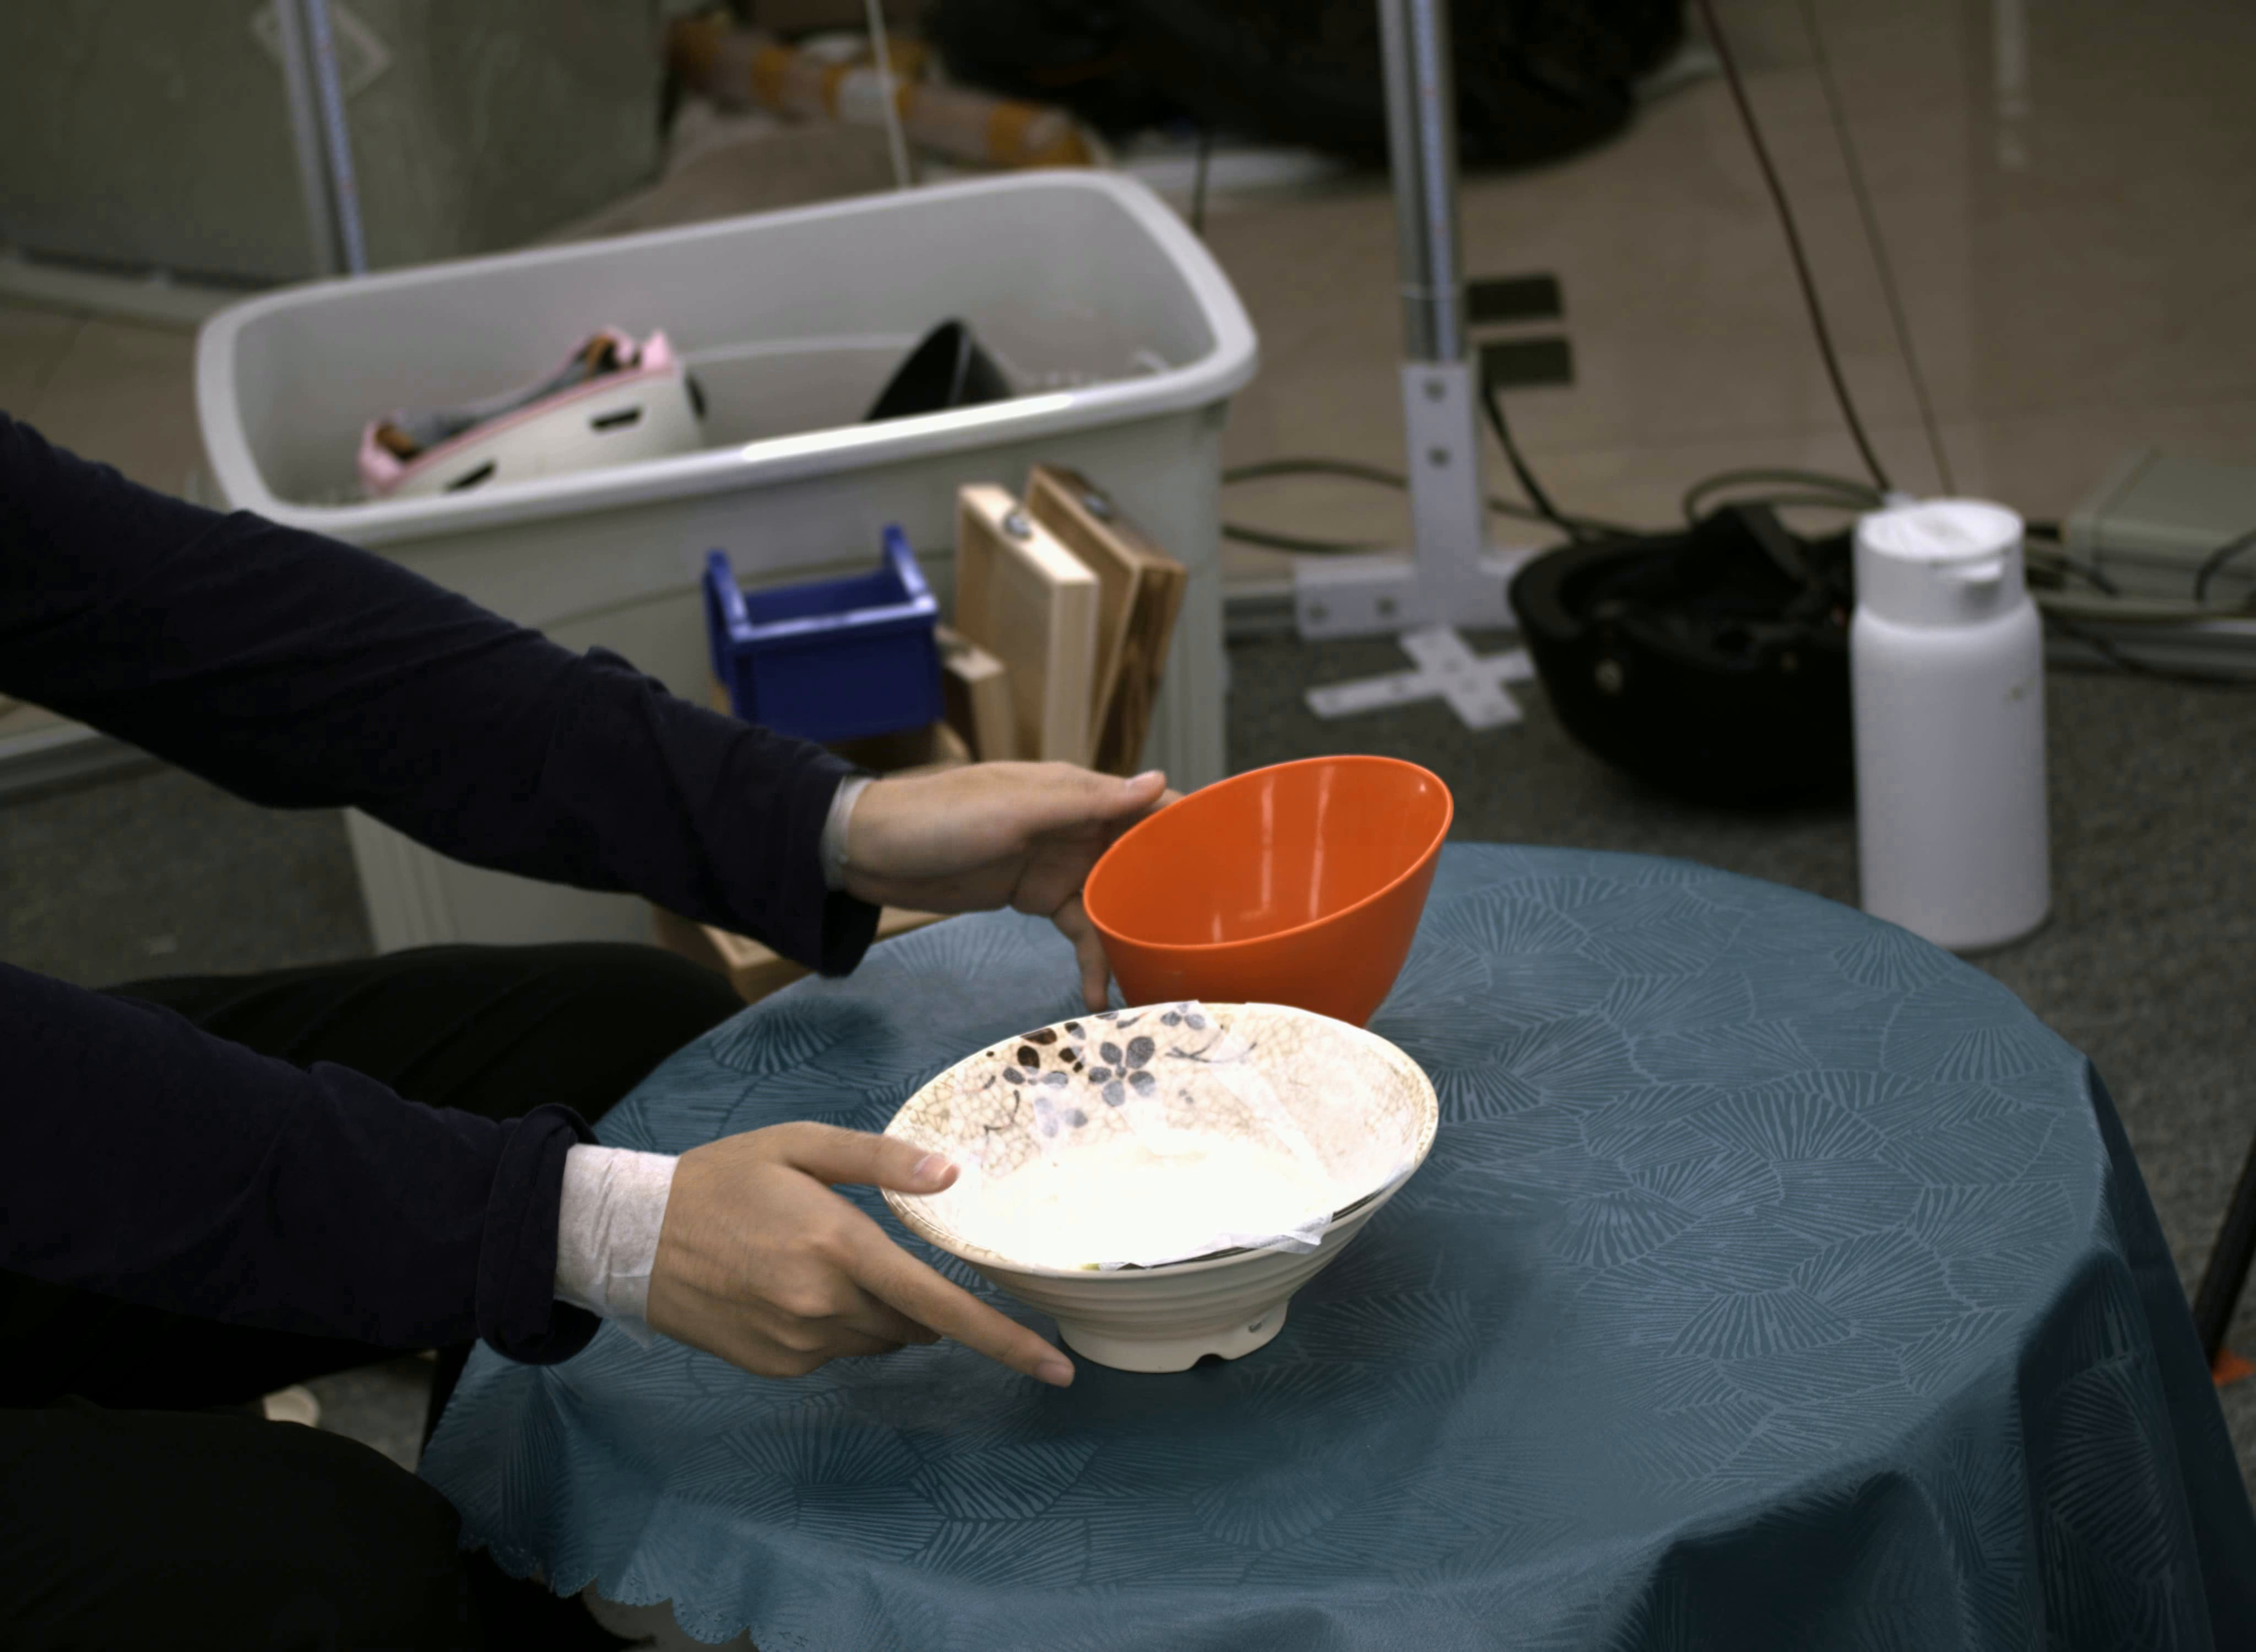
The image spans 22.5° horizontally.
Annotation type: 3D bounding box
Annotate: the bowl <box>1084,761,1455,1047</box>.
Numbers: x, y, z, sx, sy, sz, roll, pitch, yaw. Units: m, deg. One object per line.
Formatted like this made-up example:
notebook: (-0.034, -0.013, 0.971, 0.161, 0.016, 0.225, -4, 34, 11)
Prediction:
bowl: (0.060, 0.048, 2.214, 0.148, 0.106, 0.146, -7, 25, 3)

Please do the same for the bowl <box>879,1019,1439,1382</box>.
bowl: (0.017, 0.146, 2.047, 0.204, 0.079, 0.201, -9, 22, 4)
